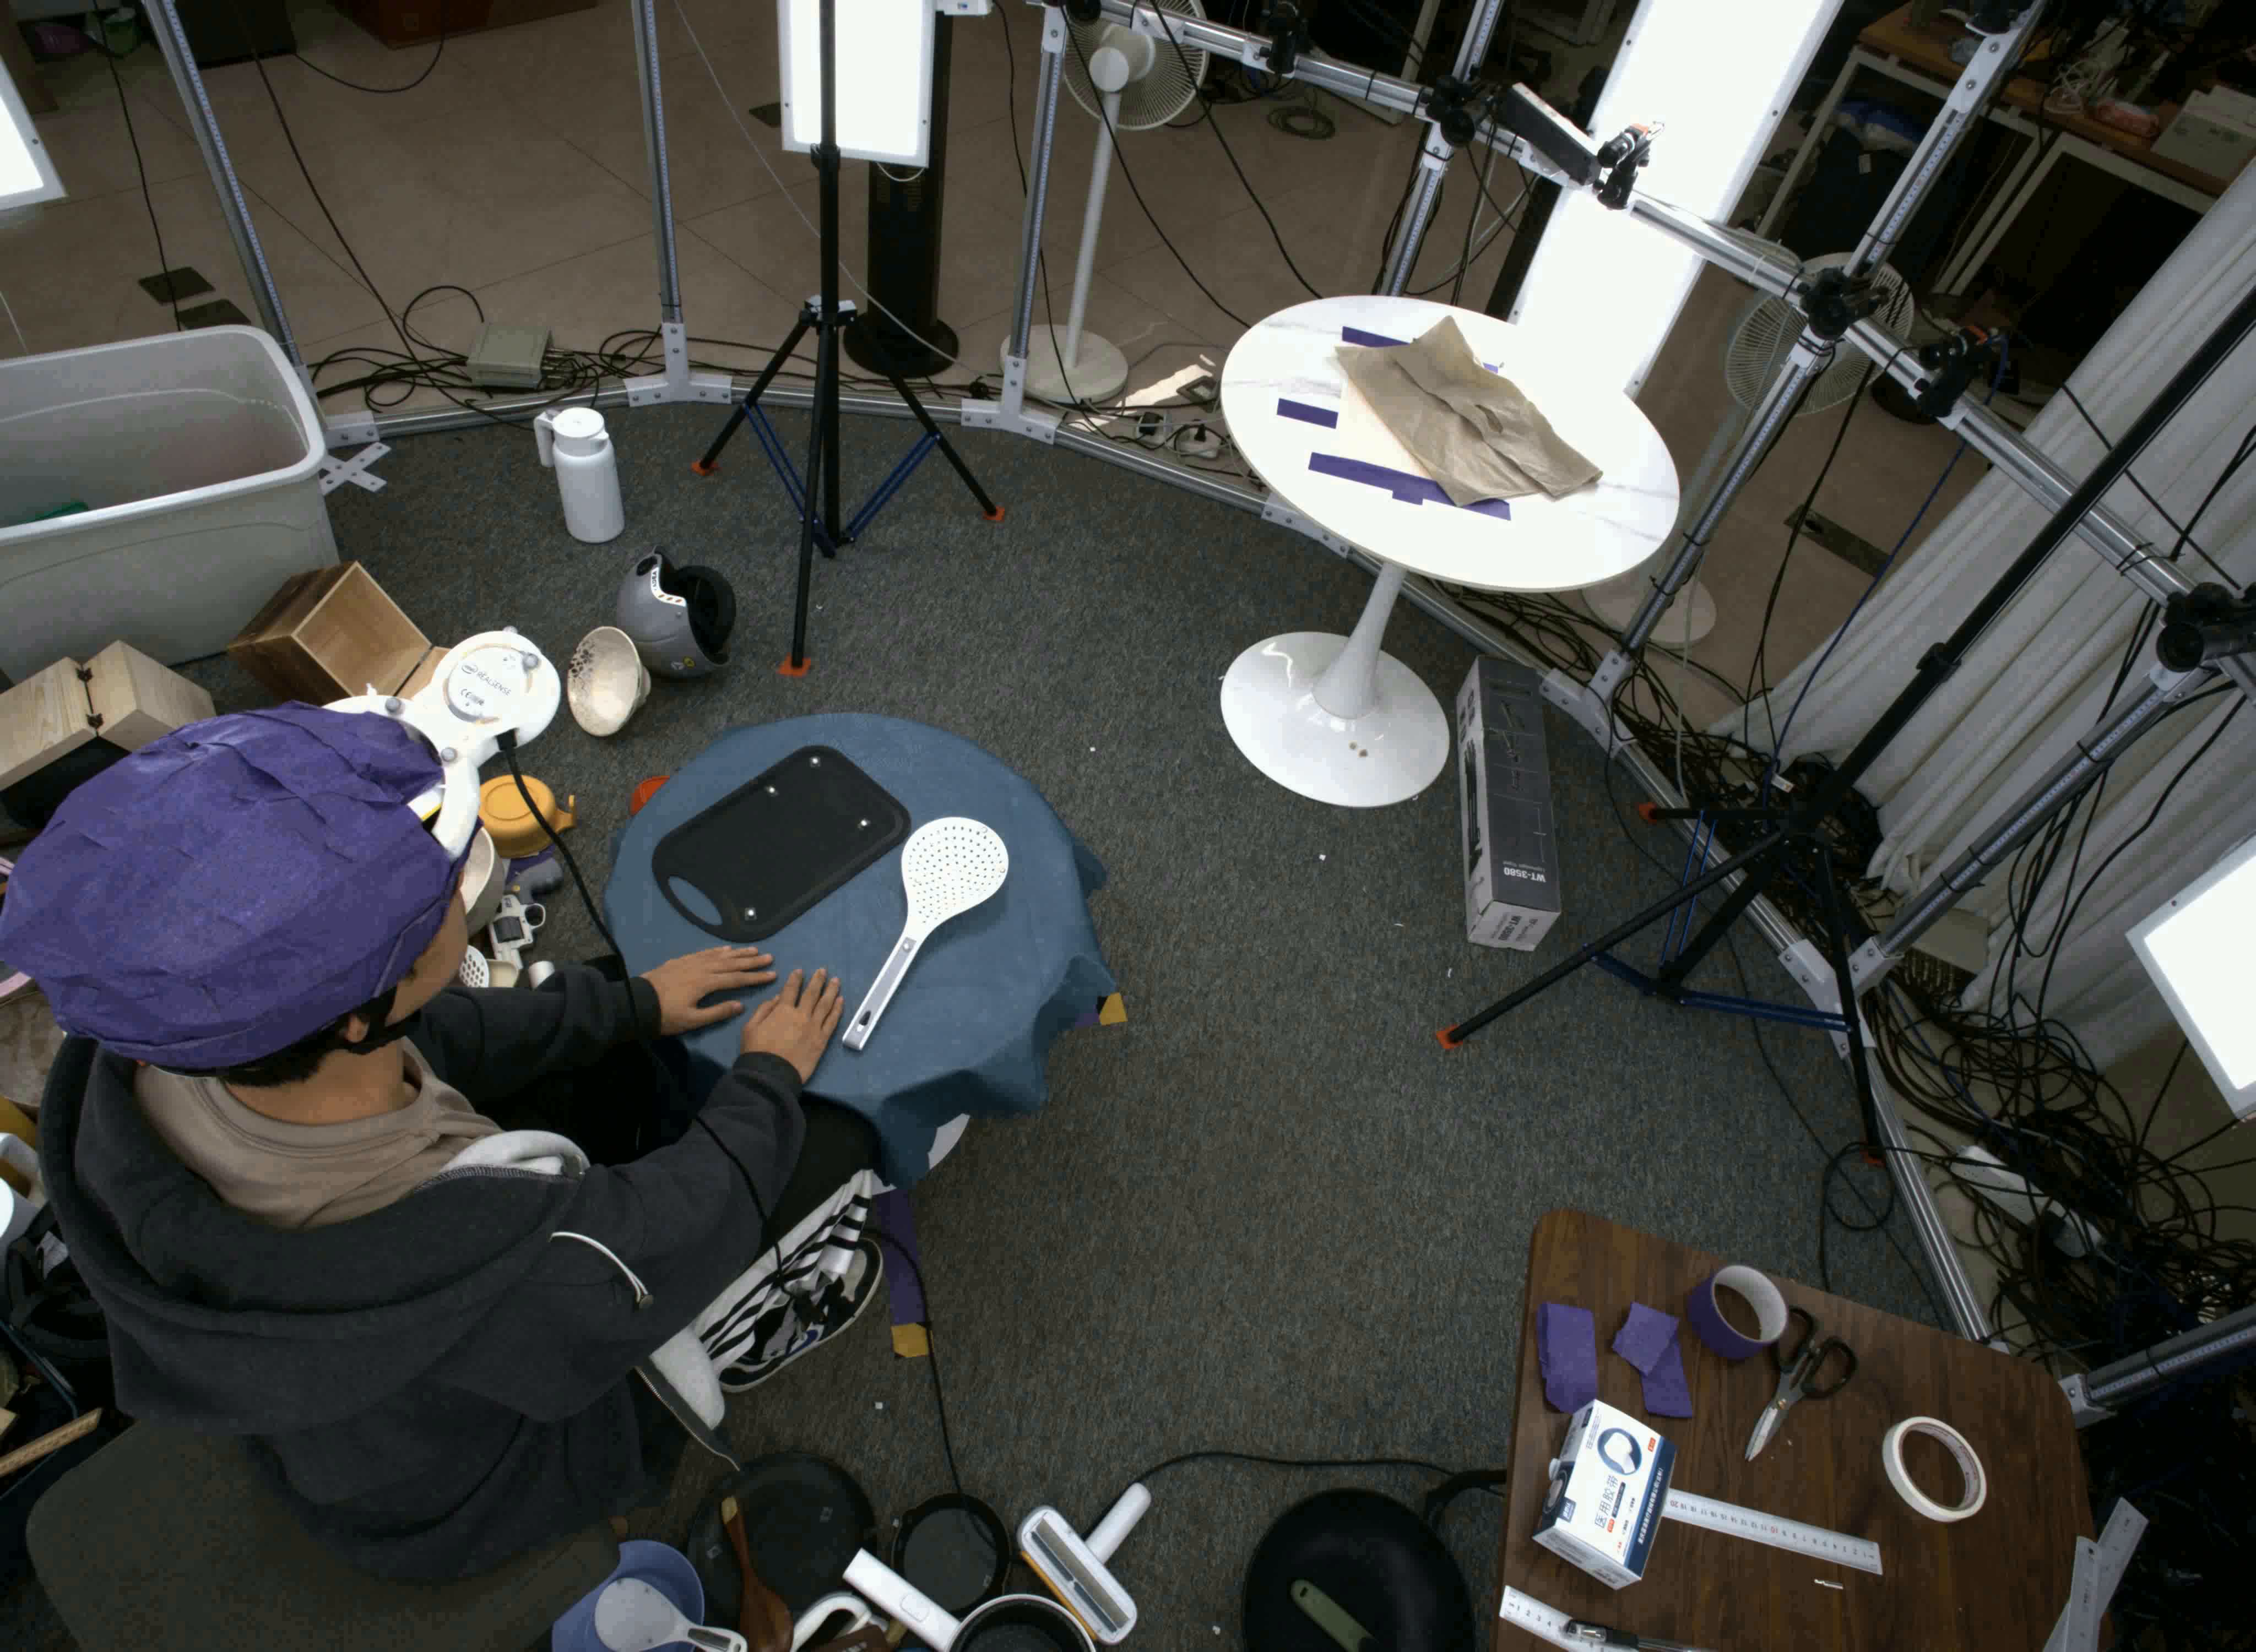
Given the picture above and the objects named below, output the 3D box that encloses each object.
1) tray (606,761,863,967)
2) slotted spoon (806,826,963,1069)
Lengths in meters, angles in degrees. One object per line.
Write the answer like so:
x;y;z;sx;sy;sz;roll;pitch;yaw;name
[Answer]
-0.512;0.044;1.669;0.207;0.010;0.325;37;54;14;tray
-0.314;0.145;1.620;0.134;0.047;0.346;19;53;3;slotted spoon
